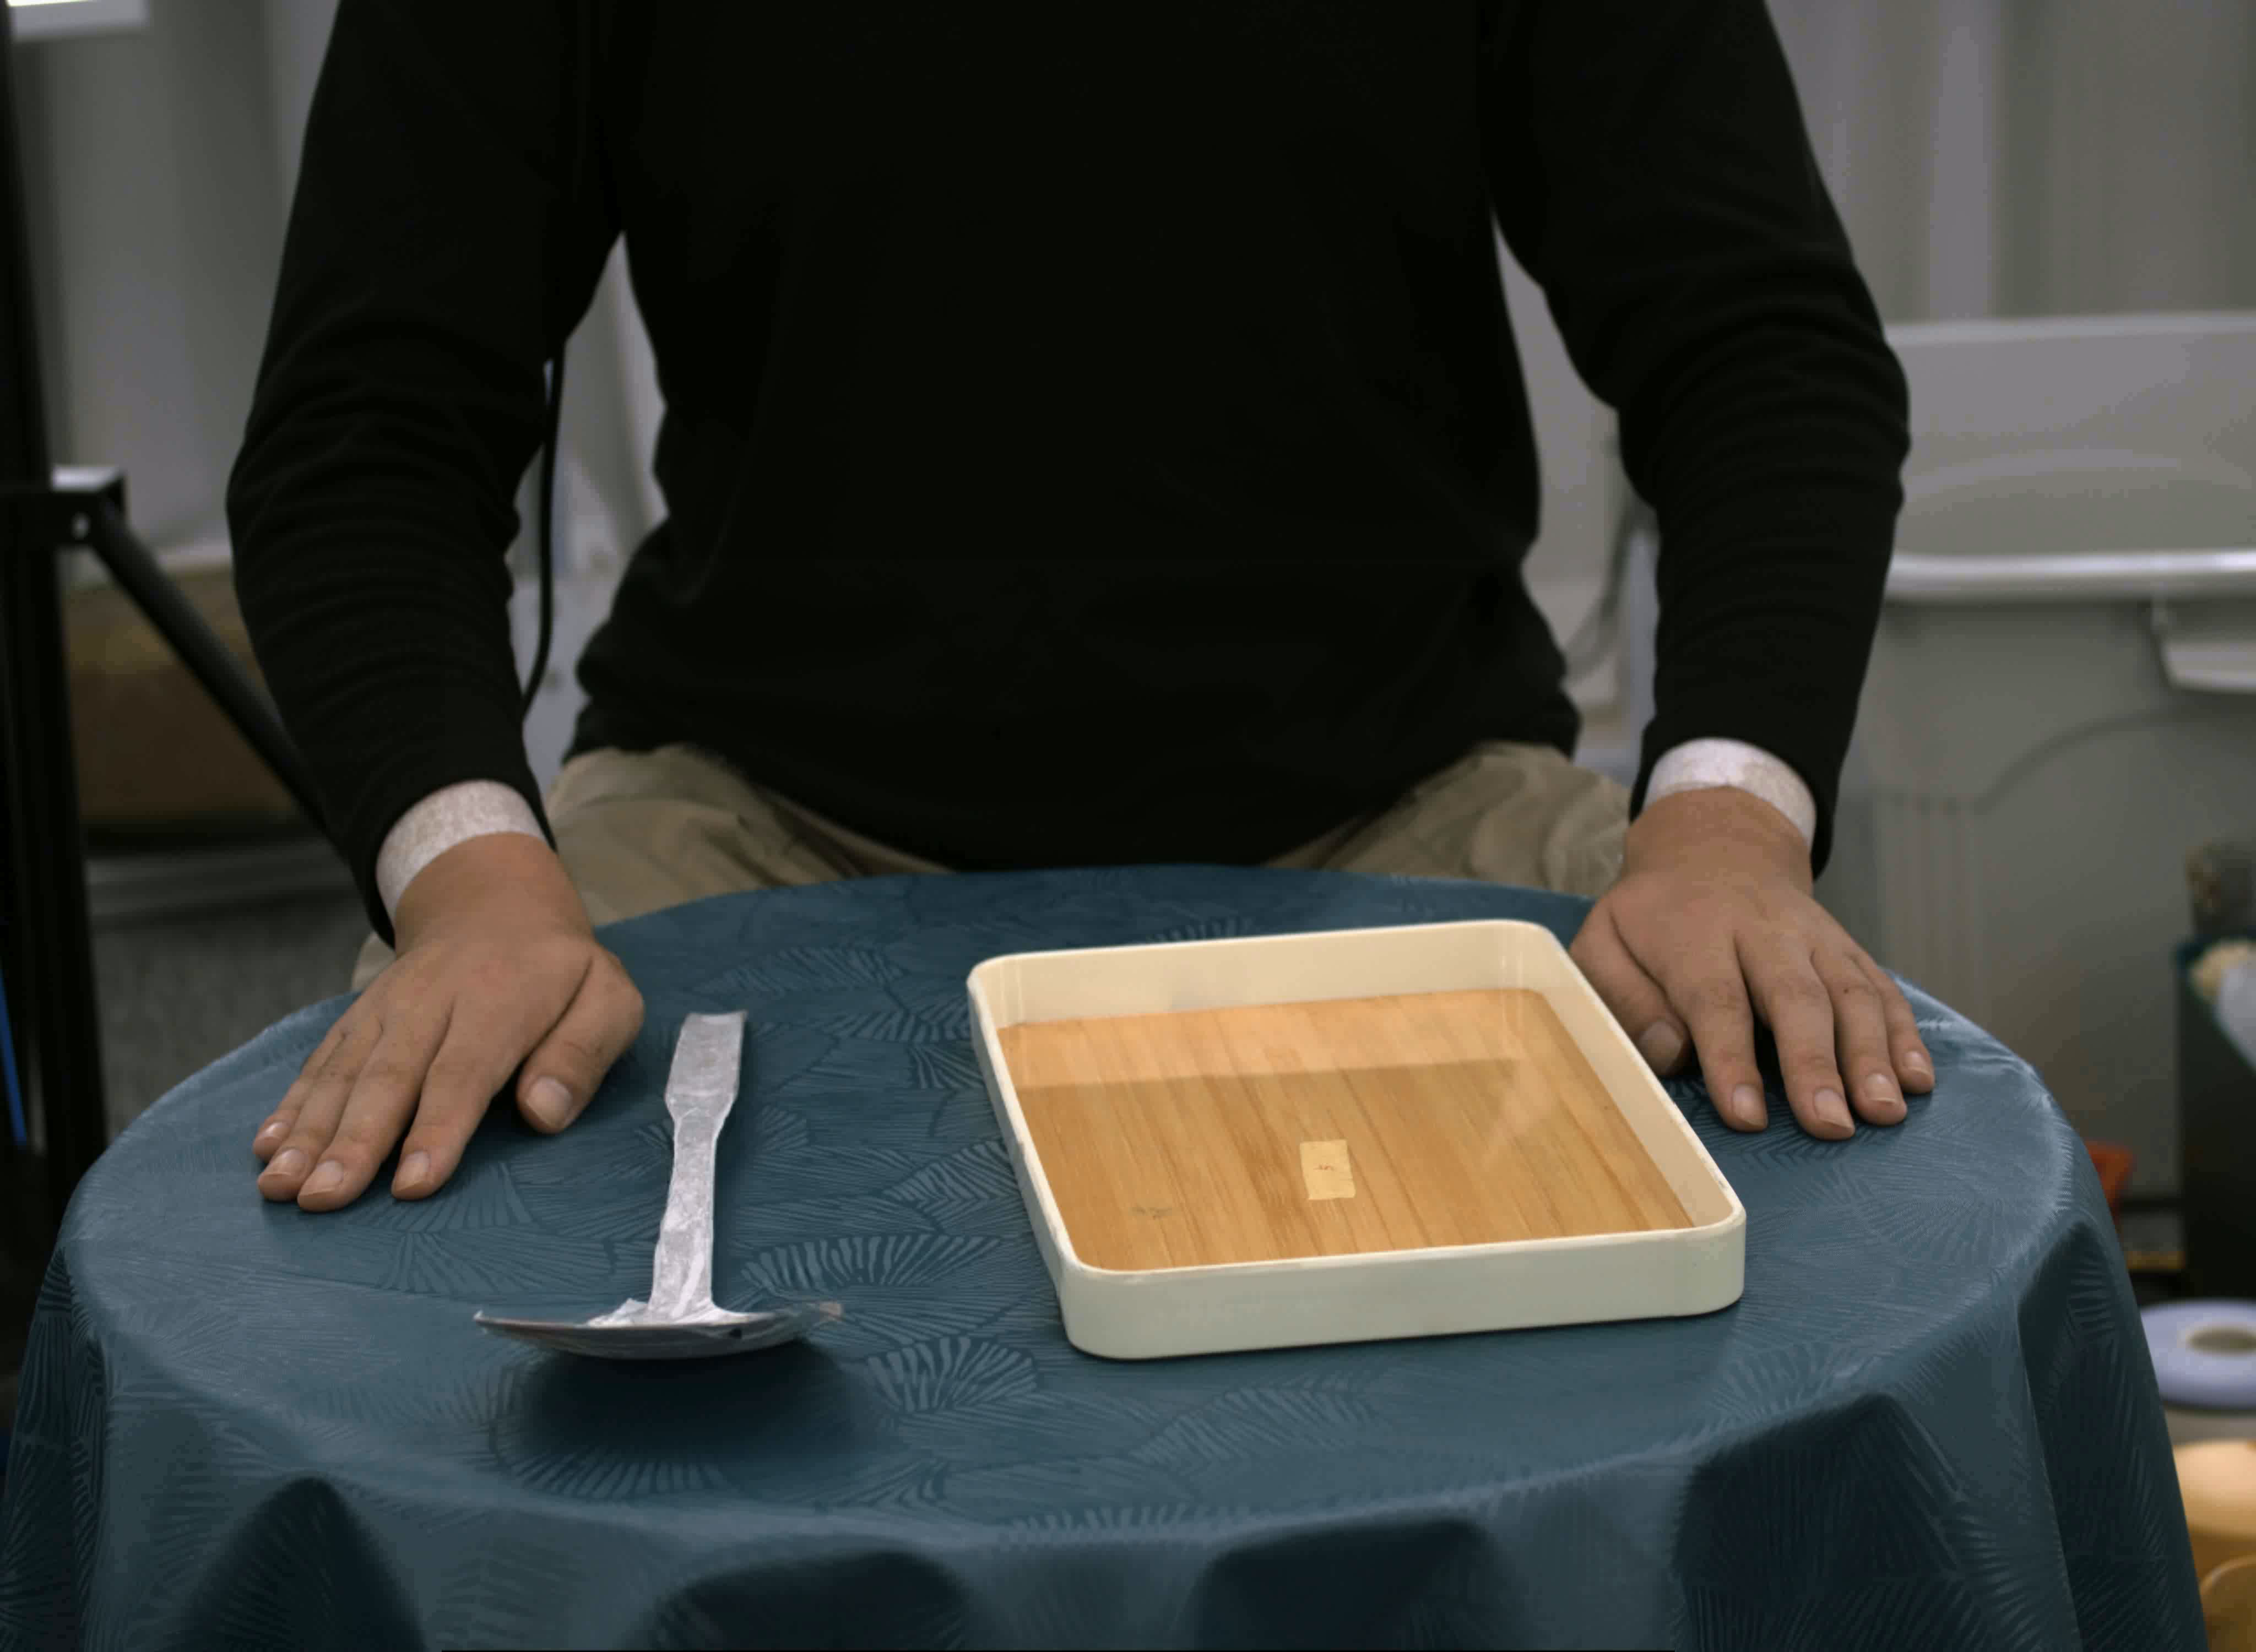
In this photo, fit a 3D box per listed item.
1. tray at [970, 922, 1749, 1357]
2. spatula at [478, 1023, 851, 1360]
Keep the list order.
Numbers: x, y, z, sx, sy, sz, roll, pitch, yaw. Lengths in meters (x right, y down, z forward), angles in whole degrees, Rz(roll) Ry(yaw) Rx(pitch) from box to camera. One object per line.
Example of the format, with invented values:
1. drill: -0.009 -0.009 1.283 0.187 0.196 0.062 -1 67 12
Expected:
1. tray: 0.060 0.088 1.568 0.190 0.027 0.303 -4 16 -5
2. spatula: -0.124 0.097 1.546 0.098 0.045 0.366 -3 16 0
